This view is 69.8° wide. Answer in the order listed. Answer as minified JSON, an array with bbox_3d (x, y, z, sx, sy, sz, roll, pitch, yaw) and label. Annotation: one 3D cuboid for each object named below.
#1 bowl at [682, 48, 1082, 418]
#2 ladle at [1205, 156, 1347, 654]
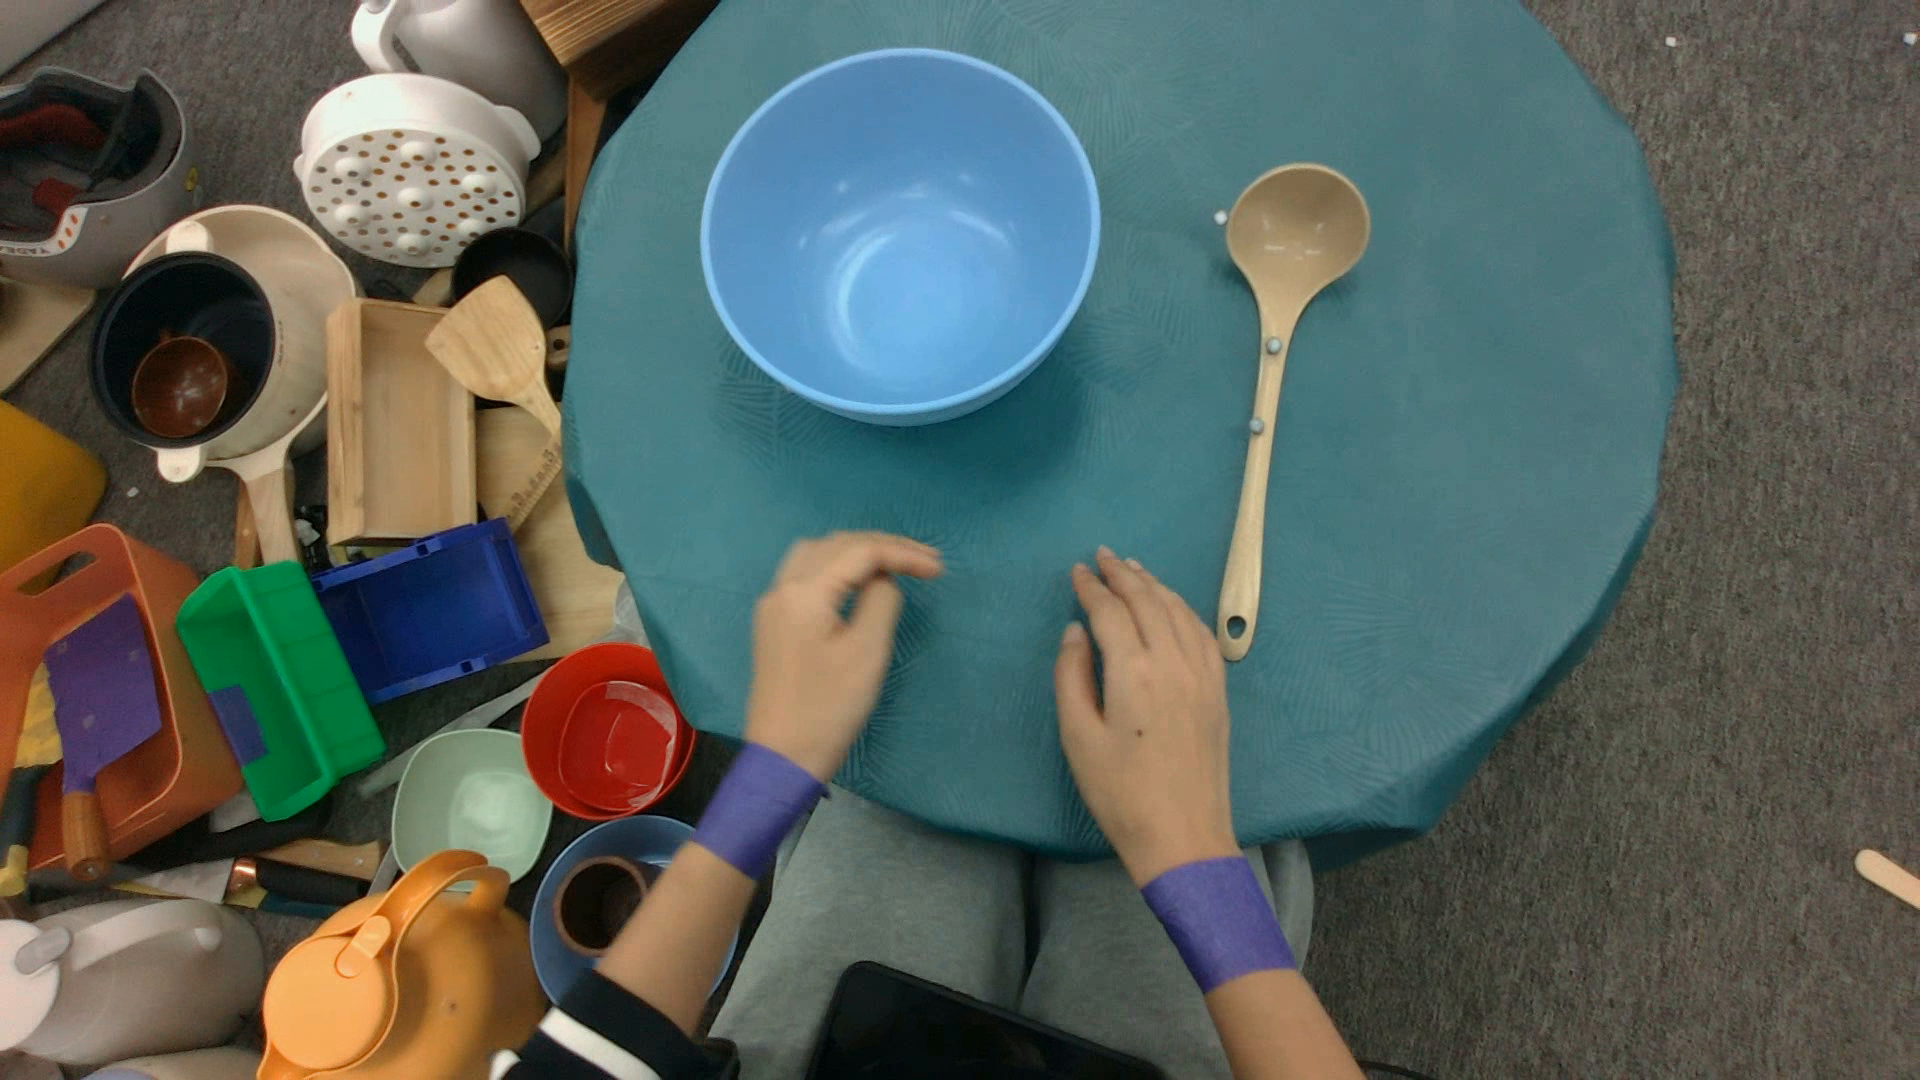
[{"bbox_3d":[-0.037,-0.144,0.717,0.196,0.095,0.197,0,73,2],"label":"bowl"},{"bbox_3d":[0.152,-0.073,0.697,0.072,0.072,0.255,7,74,6],"label":"ladle"}]
